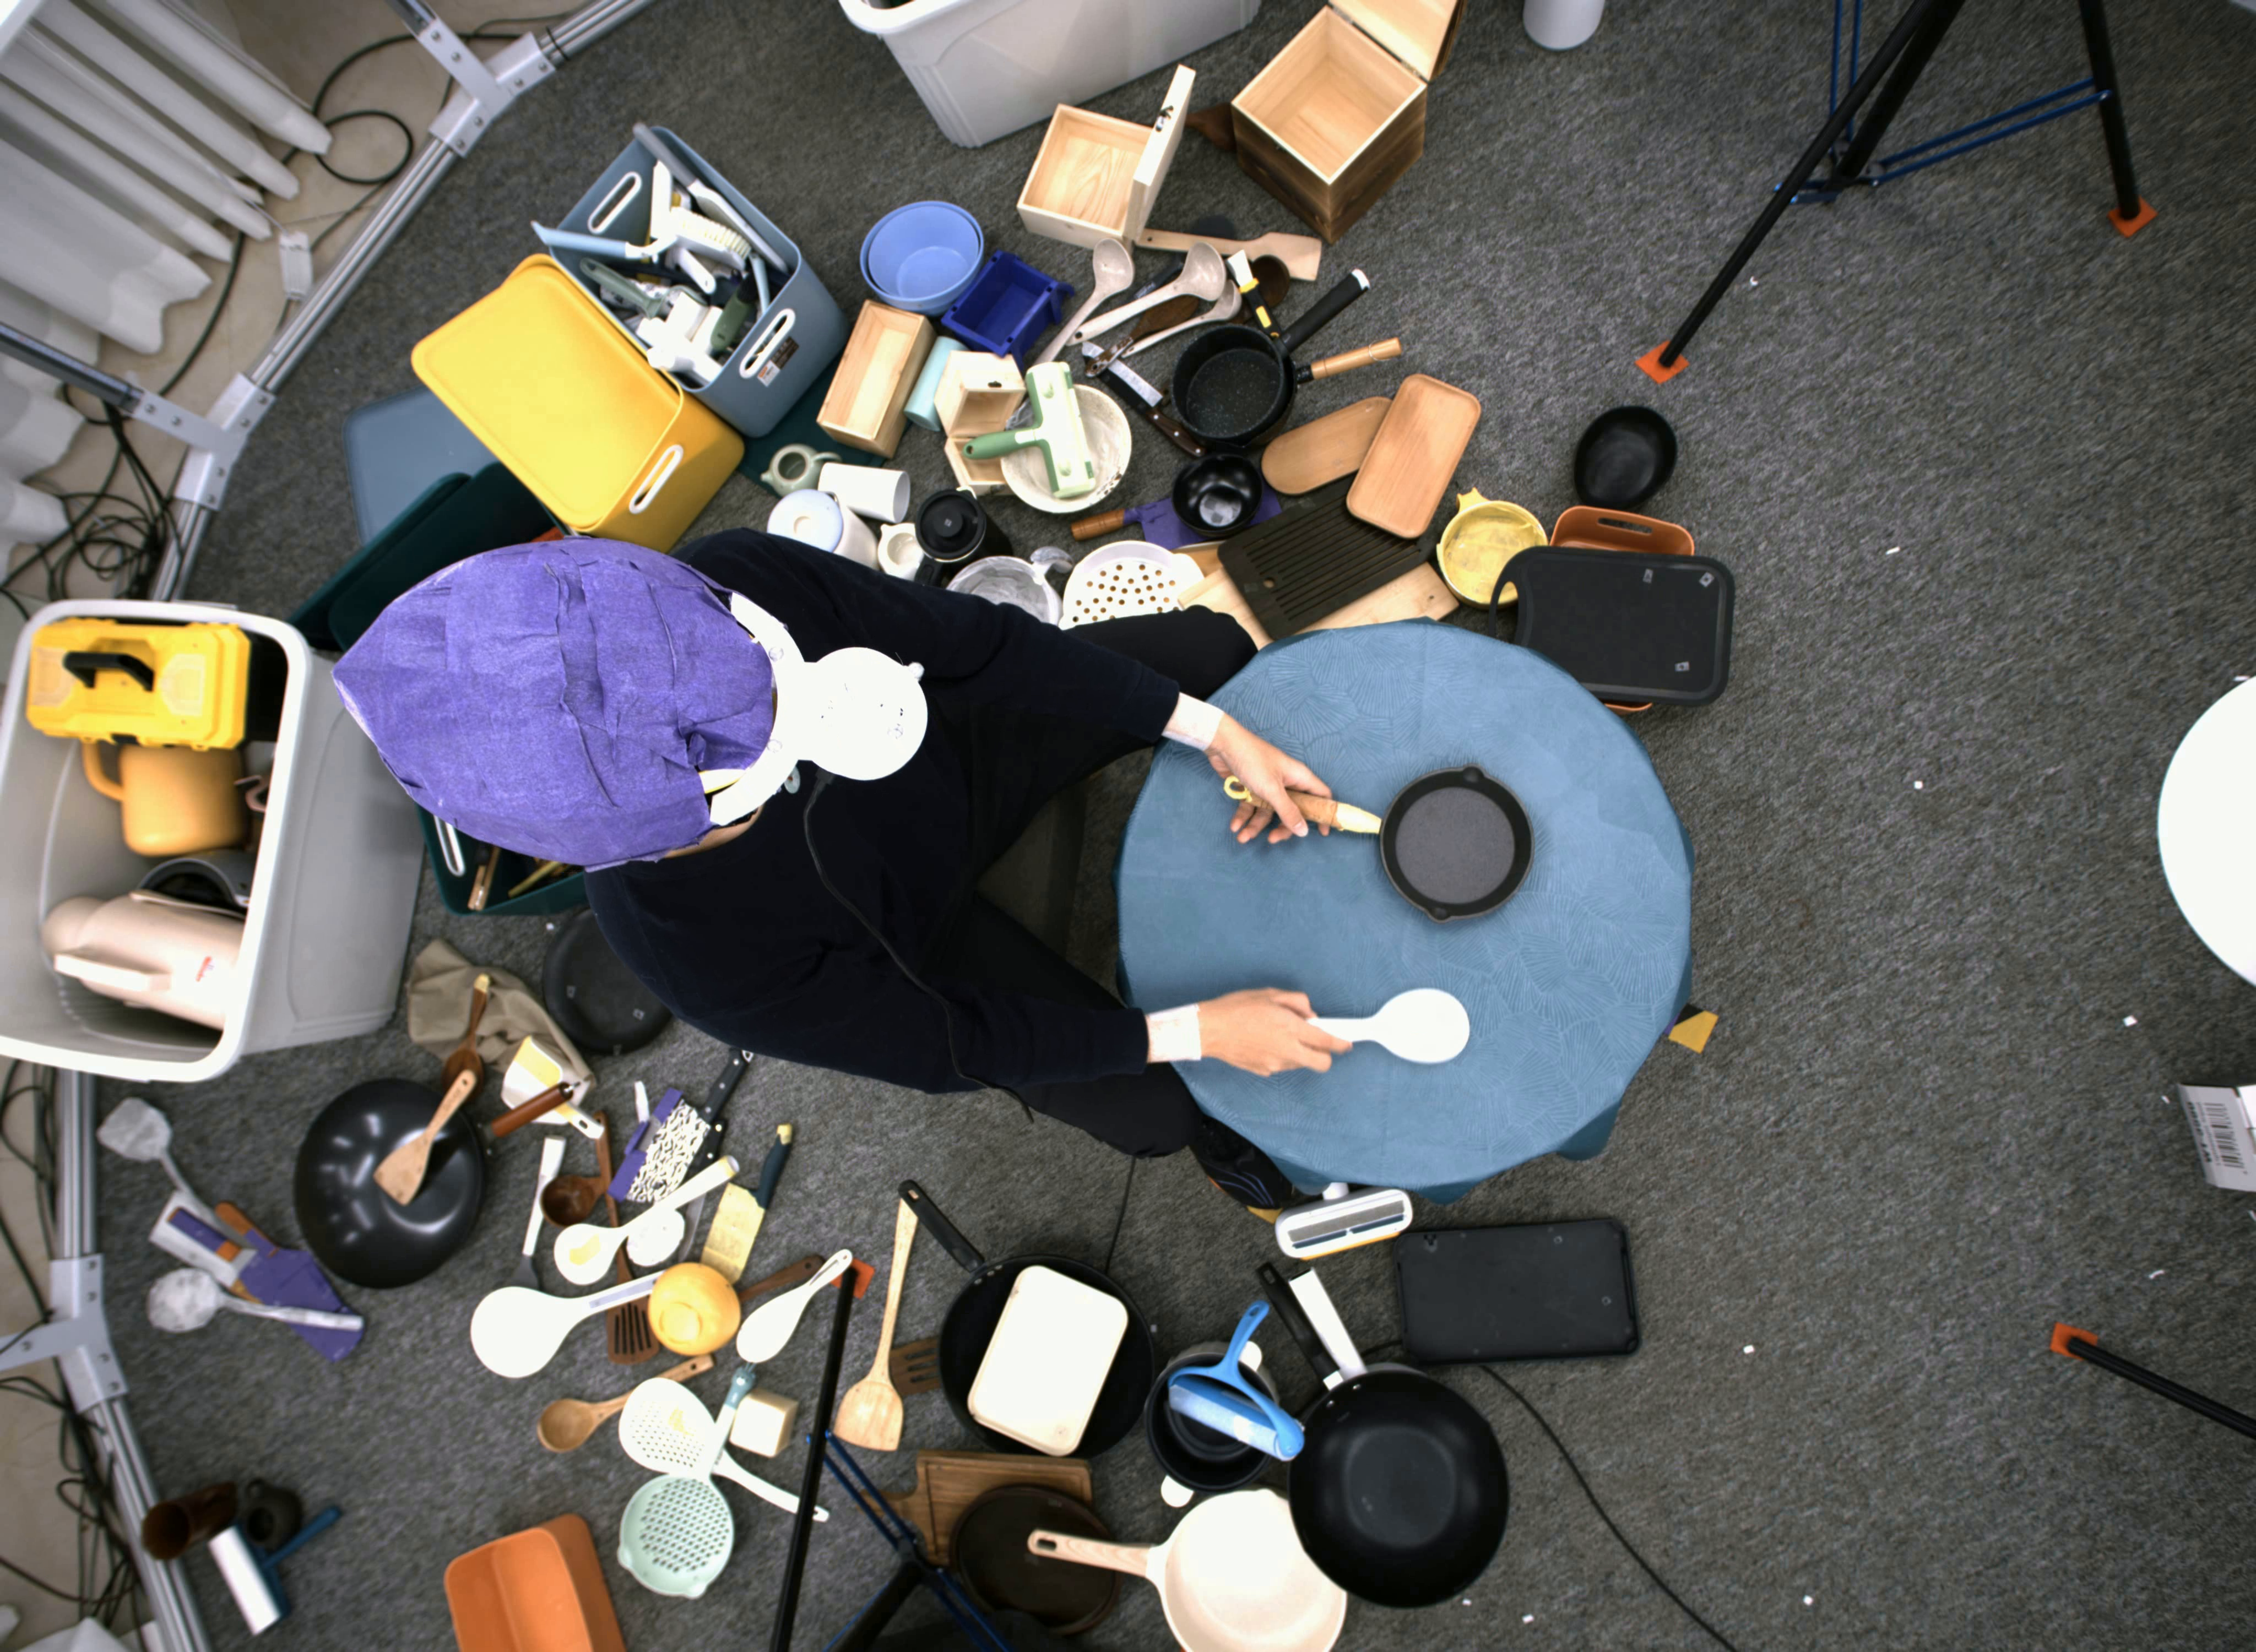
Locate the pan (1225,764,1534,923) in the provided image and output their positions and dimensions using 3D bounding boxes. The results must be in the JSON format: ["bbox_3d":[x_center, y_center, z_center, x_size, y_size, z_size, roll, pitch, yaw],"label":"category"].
[{"bbox_3d":[0.260,-0.005,1.441,0.324,0.049,0.169,16,90,9],"label":"pan"}]

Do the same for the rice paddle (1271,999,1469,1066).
[{"bbox_3d":[0.251,0.213,1.428,0.205,0.029,0.068,-2,79,1],"label":"rice paddle"}]
